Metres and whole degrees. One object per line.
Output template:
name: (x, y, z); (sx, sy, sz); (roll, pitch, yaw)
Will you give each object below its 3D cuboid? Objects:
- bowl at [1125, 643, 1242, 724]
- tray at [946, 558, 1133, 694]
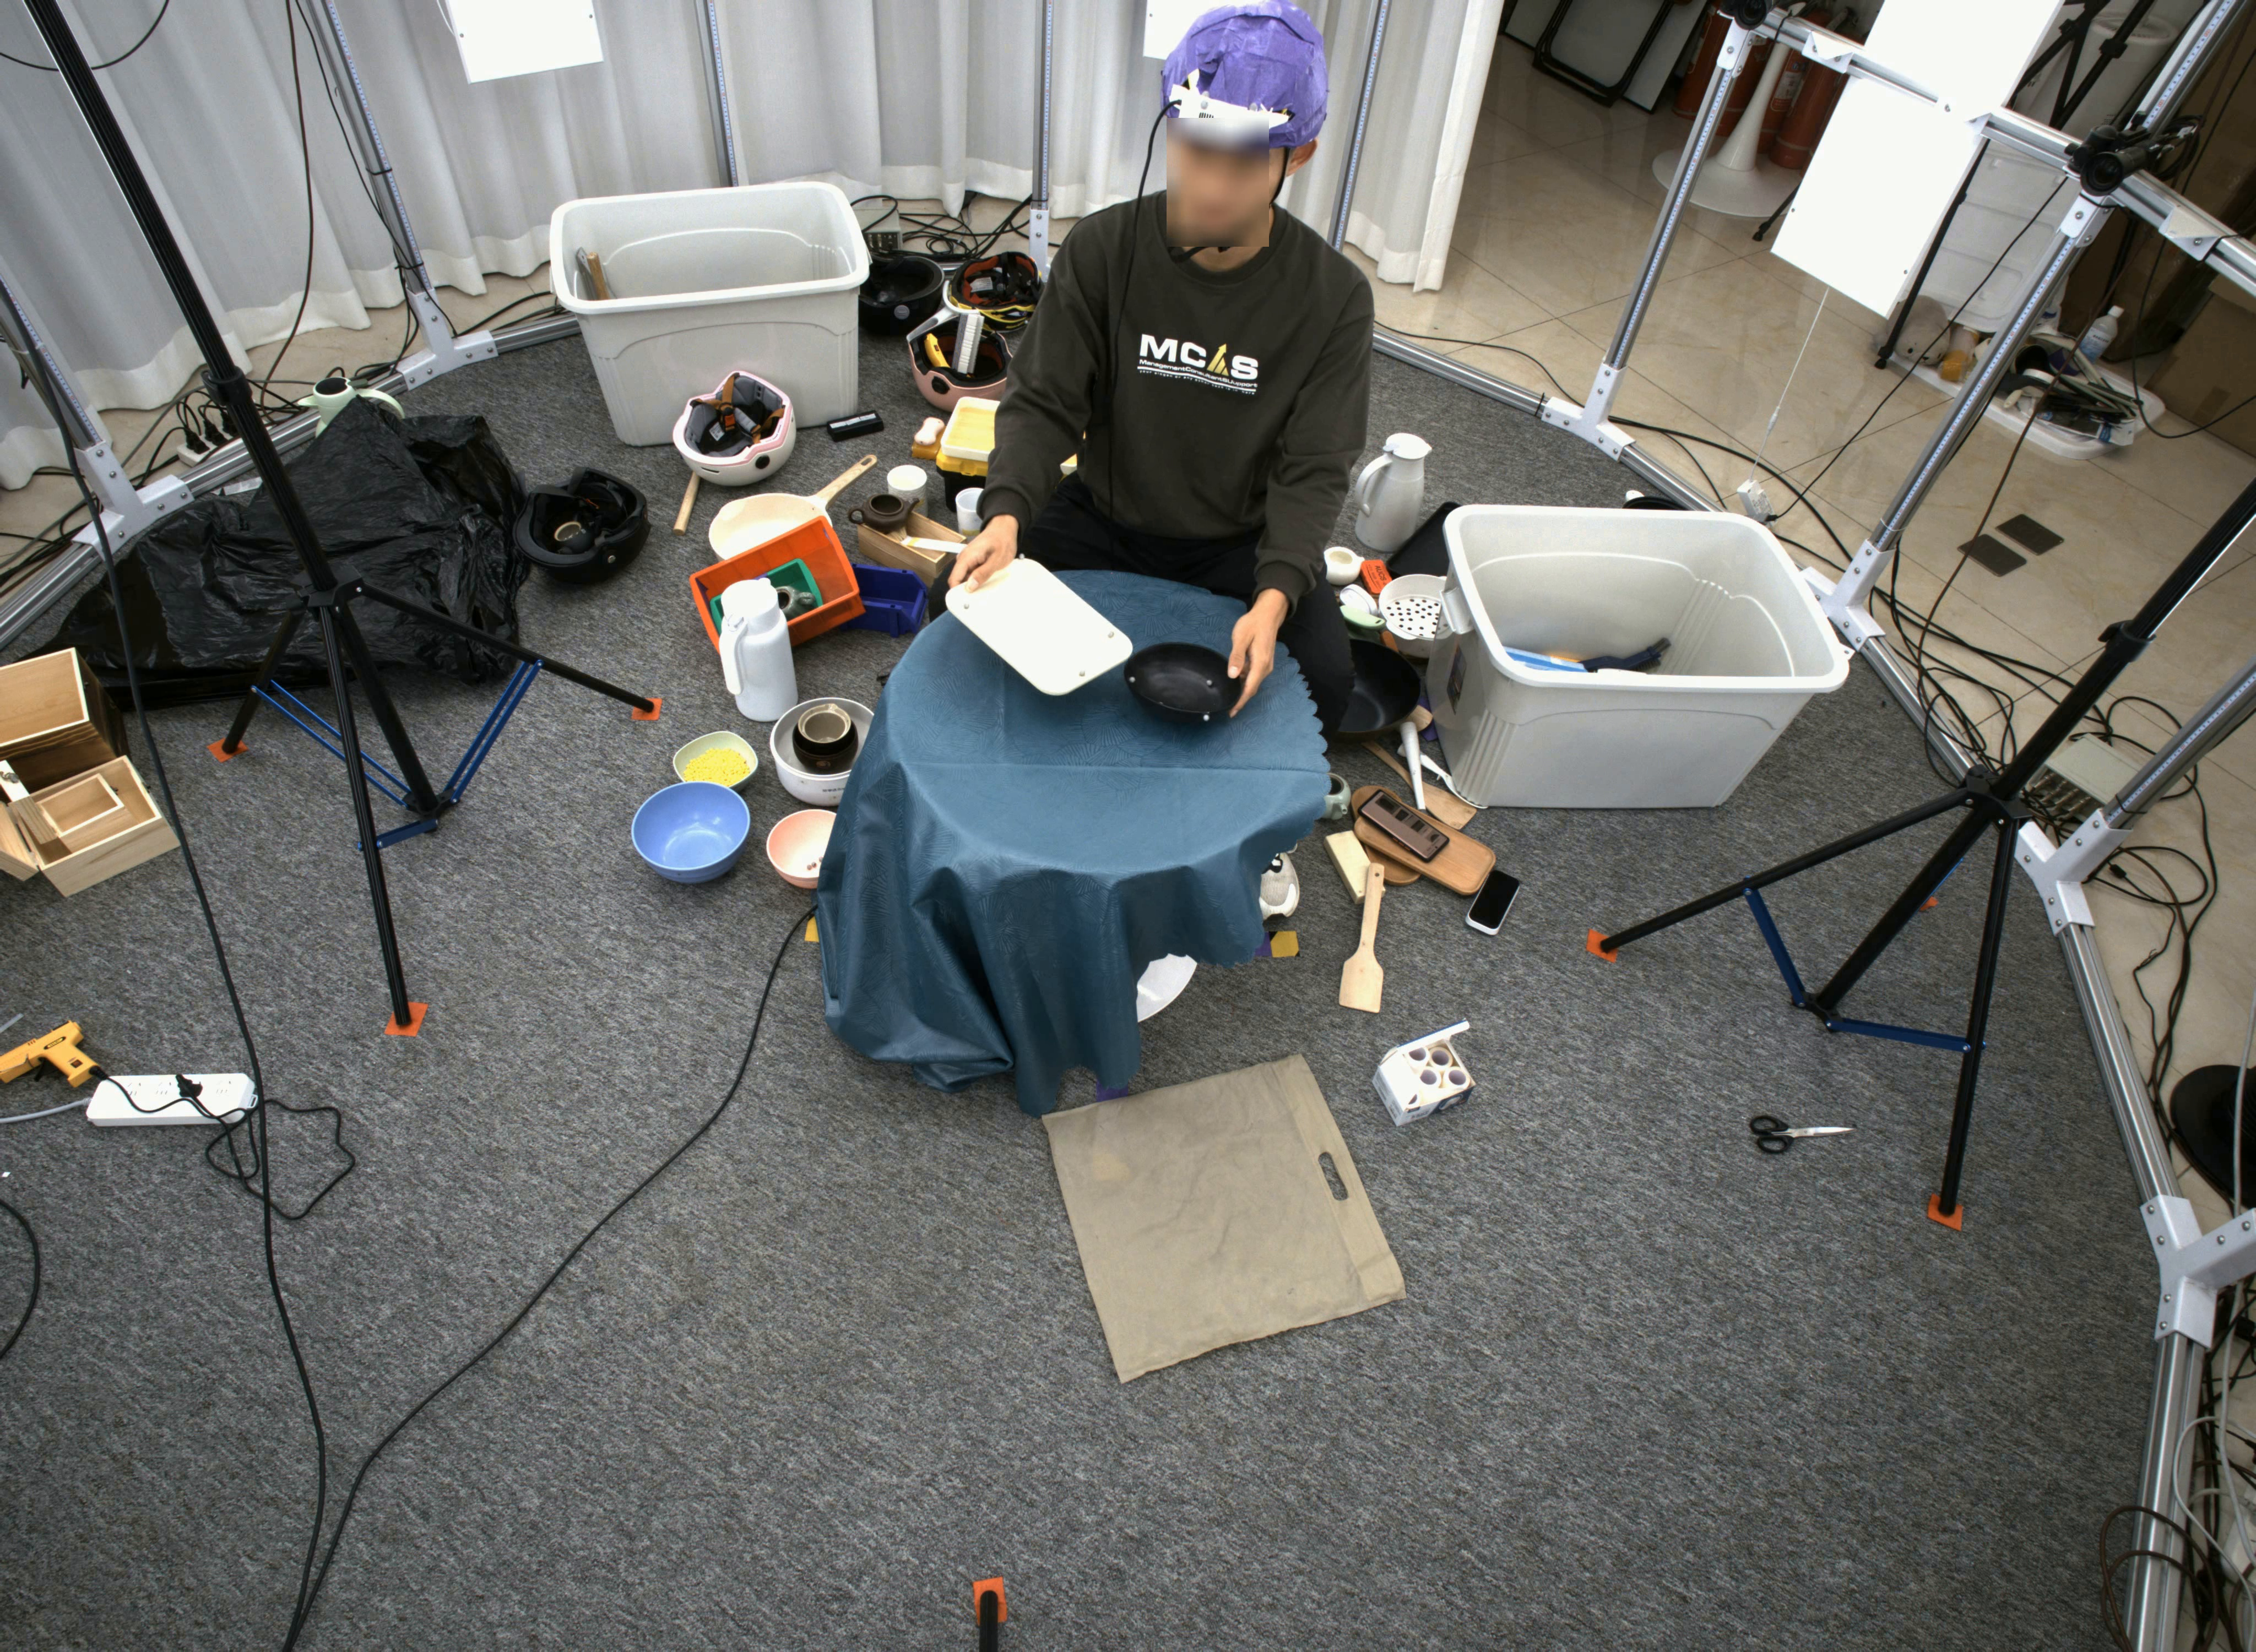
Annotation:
bowl: (0.074, -0.188, 1.794); (0.171, 0.065, 0.140); (19, 49, 15)
tray: (-0.123, -0.278, 1.781); (0.173, 0.017, 0.243); (-33, 63, -33)
